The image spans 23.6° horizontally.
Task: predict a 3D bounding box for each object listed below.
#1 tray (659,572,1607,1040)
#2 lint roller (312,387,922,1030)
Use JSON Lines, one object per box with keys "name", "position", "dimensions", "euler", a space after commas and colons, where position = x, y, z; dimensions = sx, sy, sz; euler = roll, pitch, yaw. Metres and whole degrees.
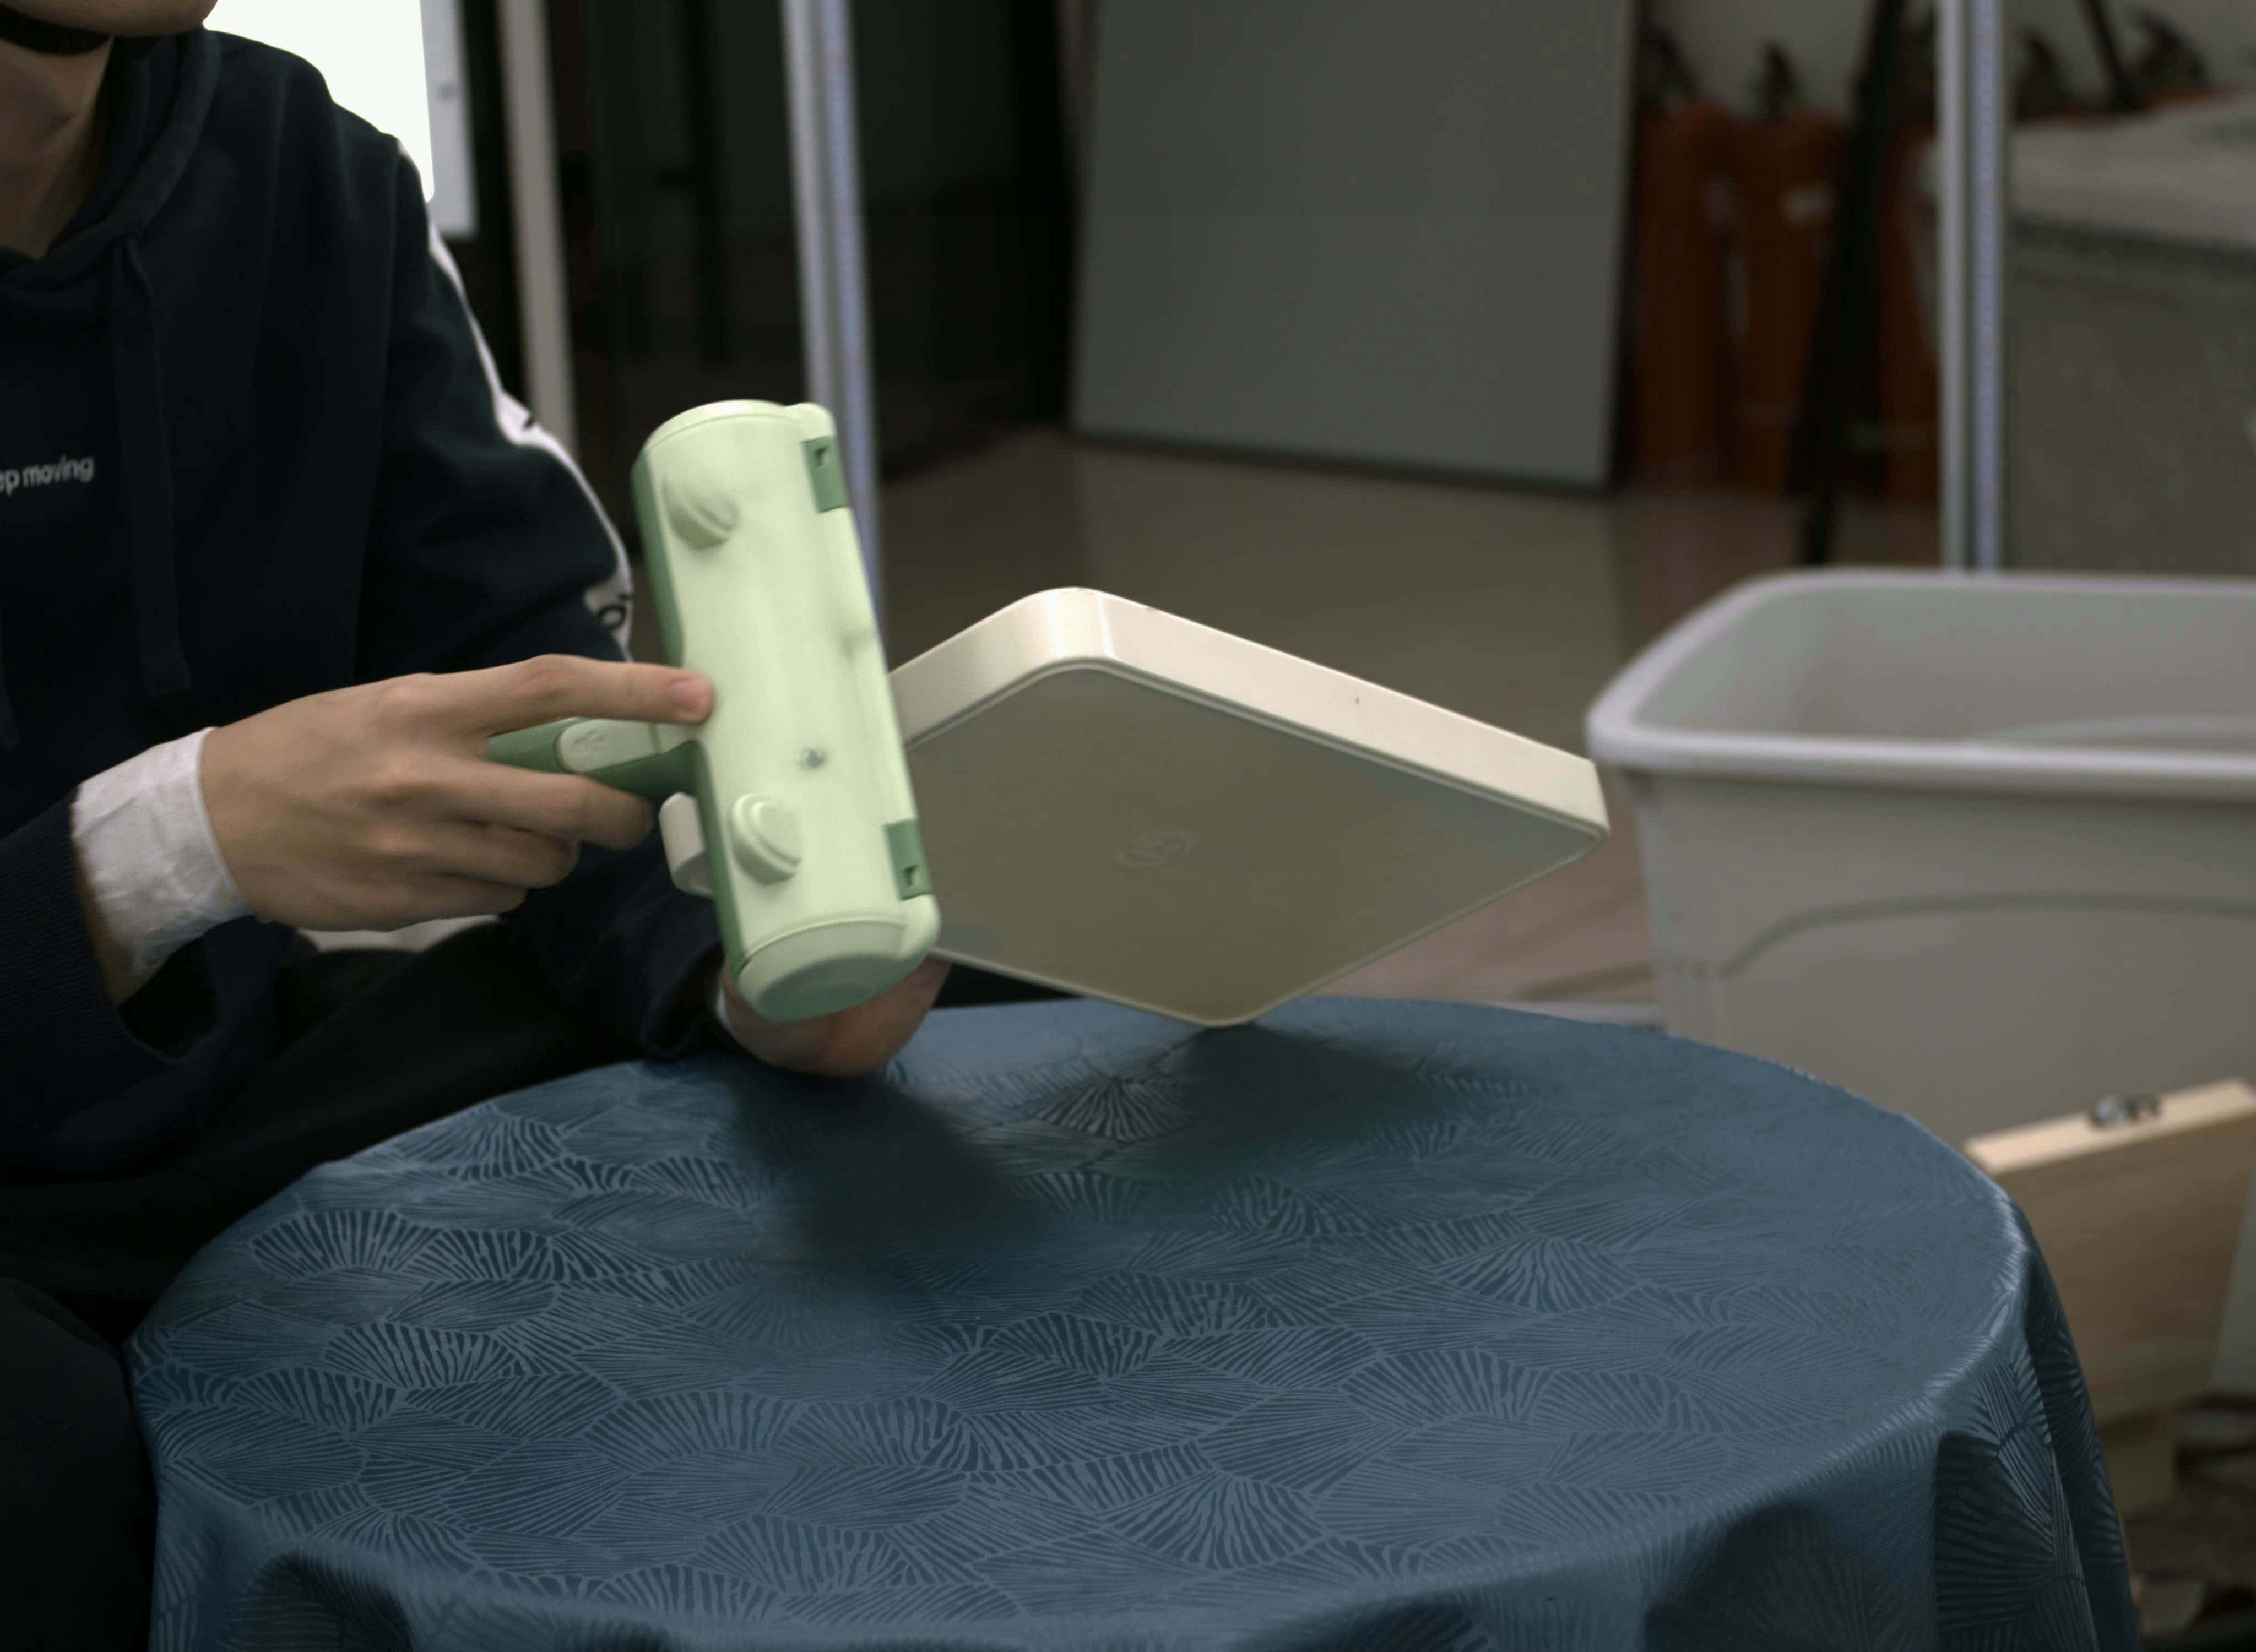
{"name": "tray", "position": [0.007, 0.001, 1.800], "dimensions": [0.193, 0.028, 0.294], "euler": [-29, -30, 33]}
{"name": "lint roller", "position": [-0.166, -0.027, 1.637], "dimensions": [0.181, 0.201, 0.082], "euler": [-14, -25, 2]}
